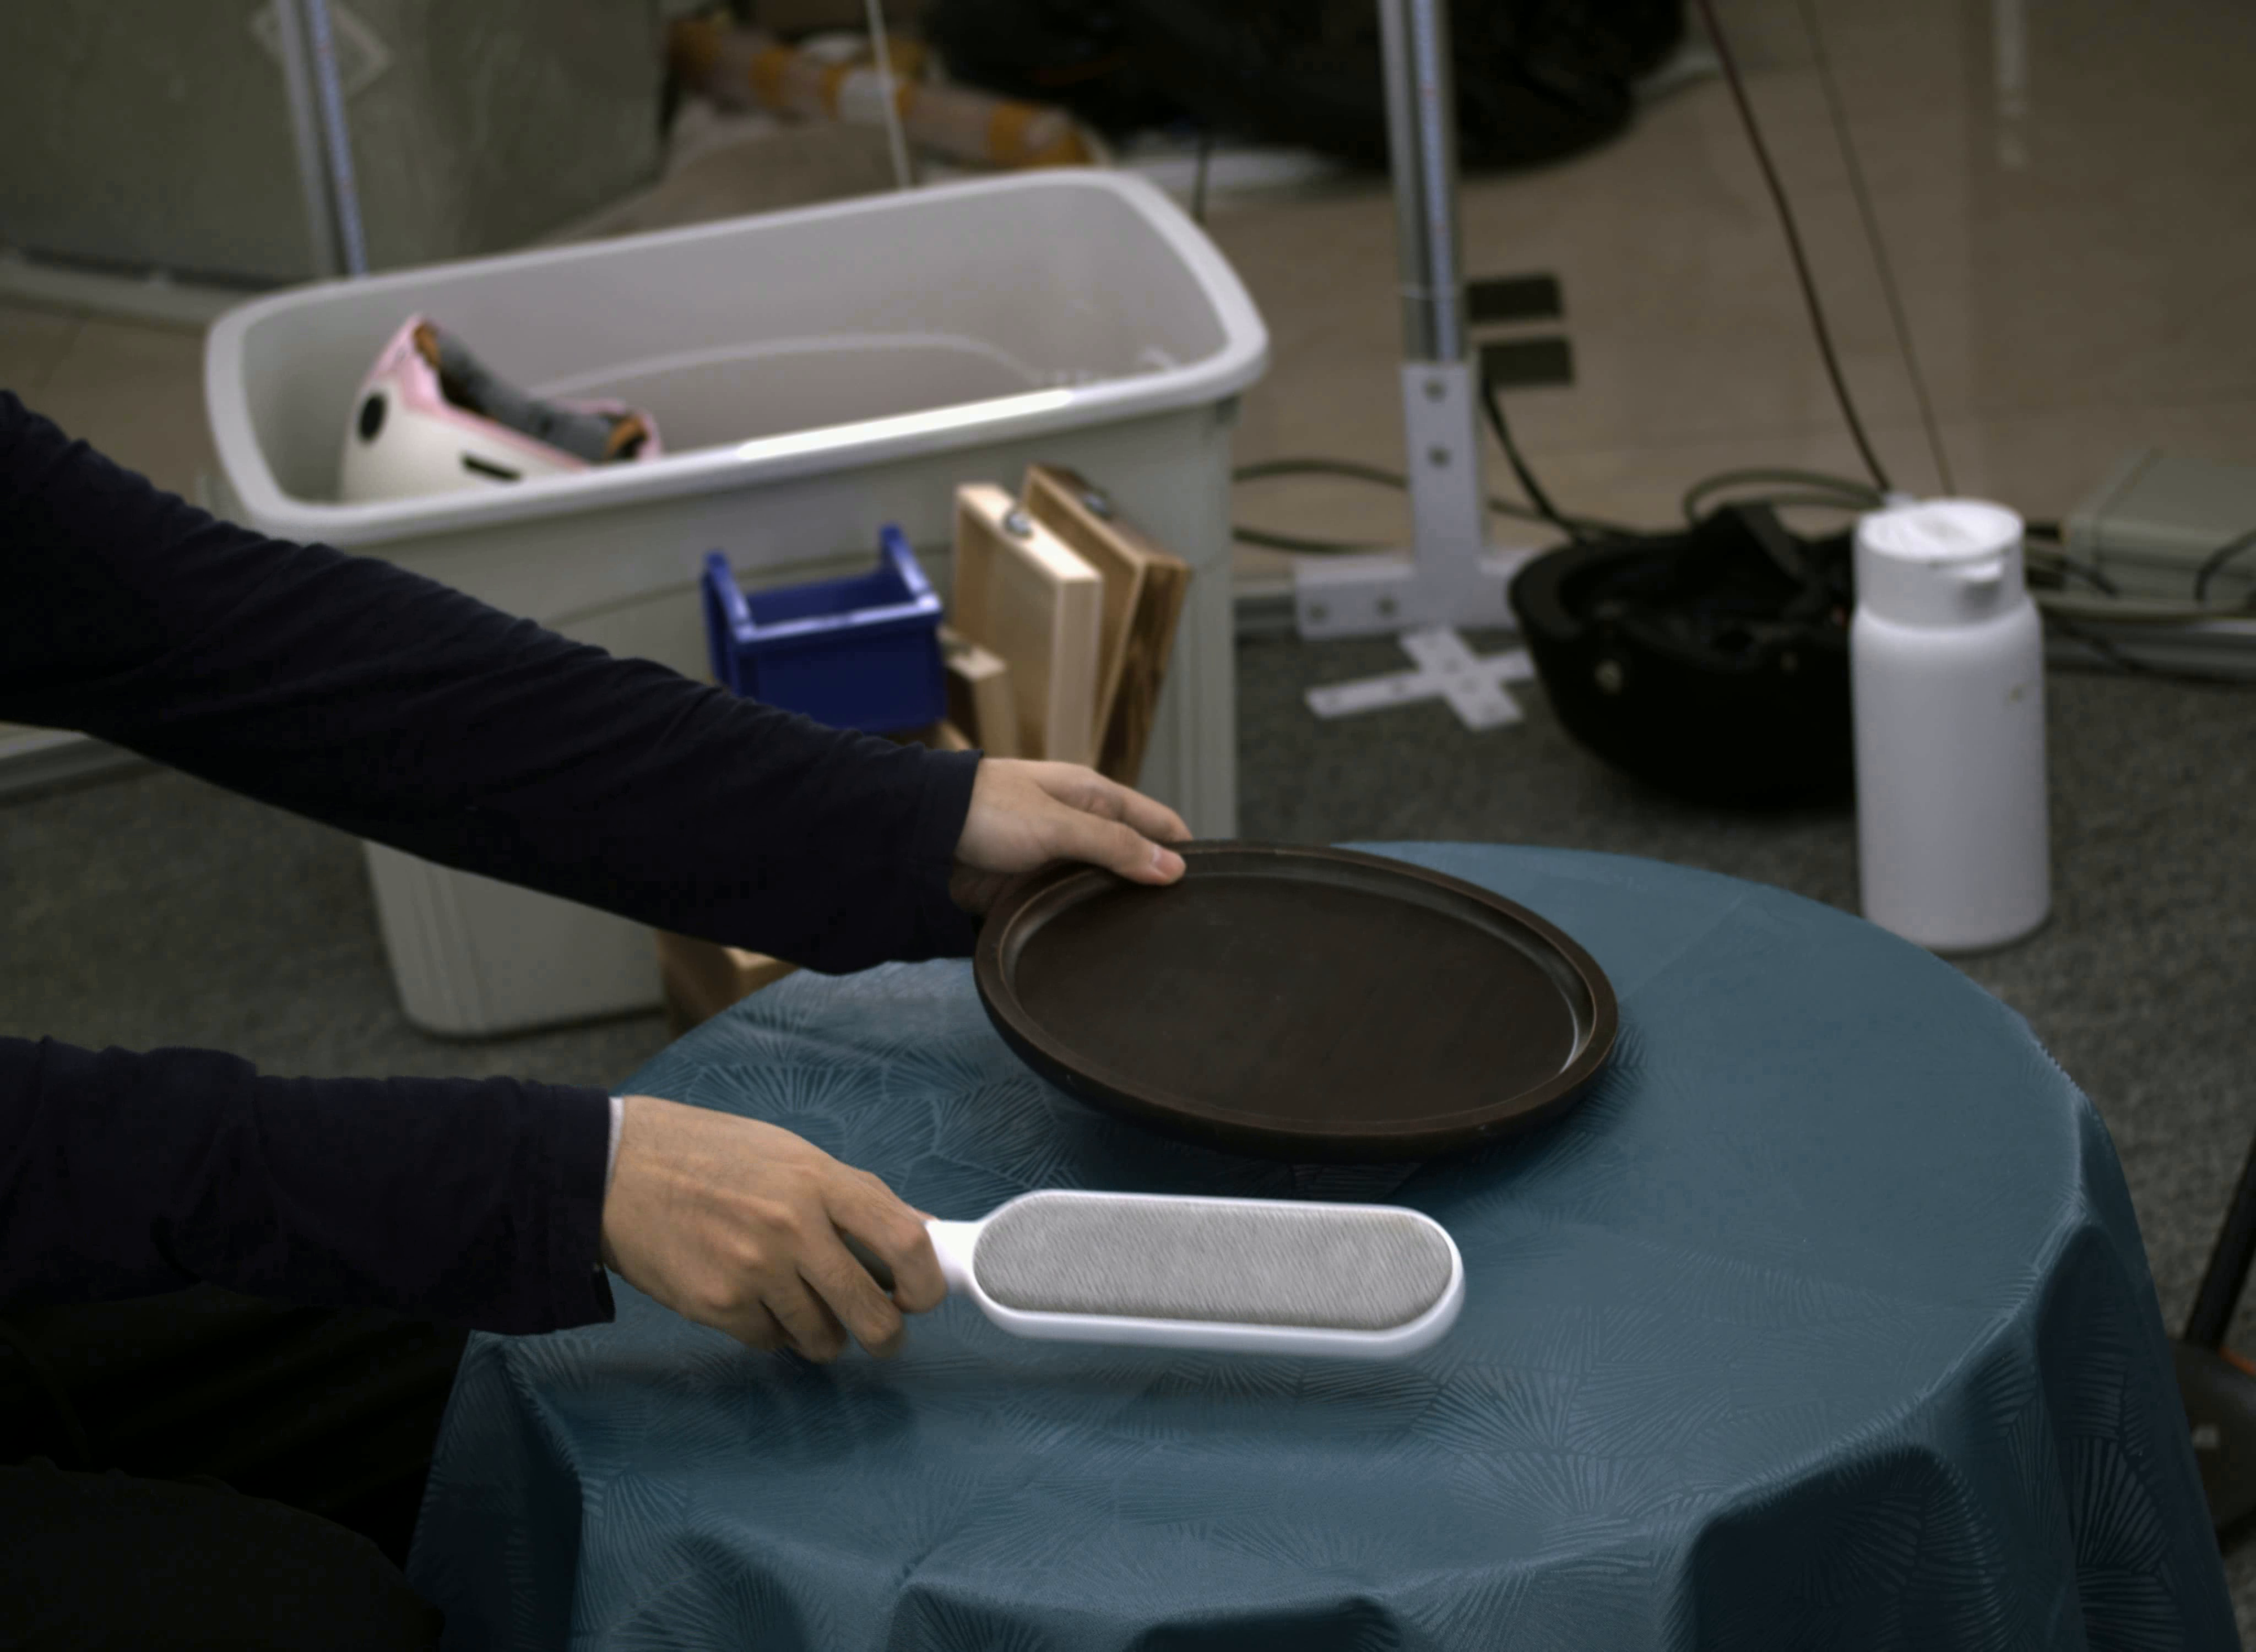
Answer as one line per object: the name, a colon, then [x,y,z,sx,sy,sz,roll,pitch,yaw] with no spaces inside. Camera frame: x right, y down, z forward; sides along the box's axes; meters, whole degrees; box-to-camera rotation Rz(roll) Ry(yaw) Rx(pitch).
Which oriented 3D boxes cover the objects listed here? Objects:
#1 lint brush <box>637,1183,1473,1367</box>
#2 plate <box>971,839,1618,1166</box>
lint brush: [-0.029,0.155,2.018,0.308,0.021,0.059,3,61,16]
plate: [0.064,0.068,2.209,0.254,0.029,0.251,5,24,-2]
